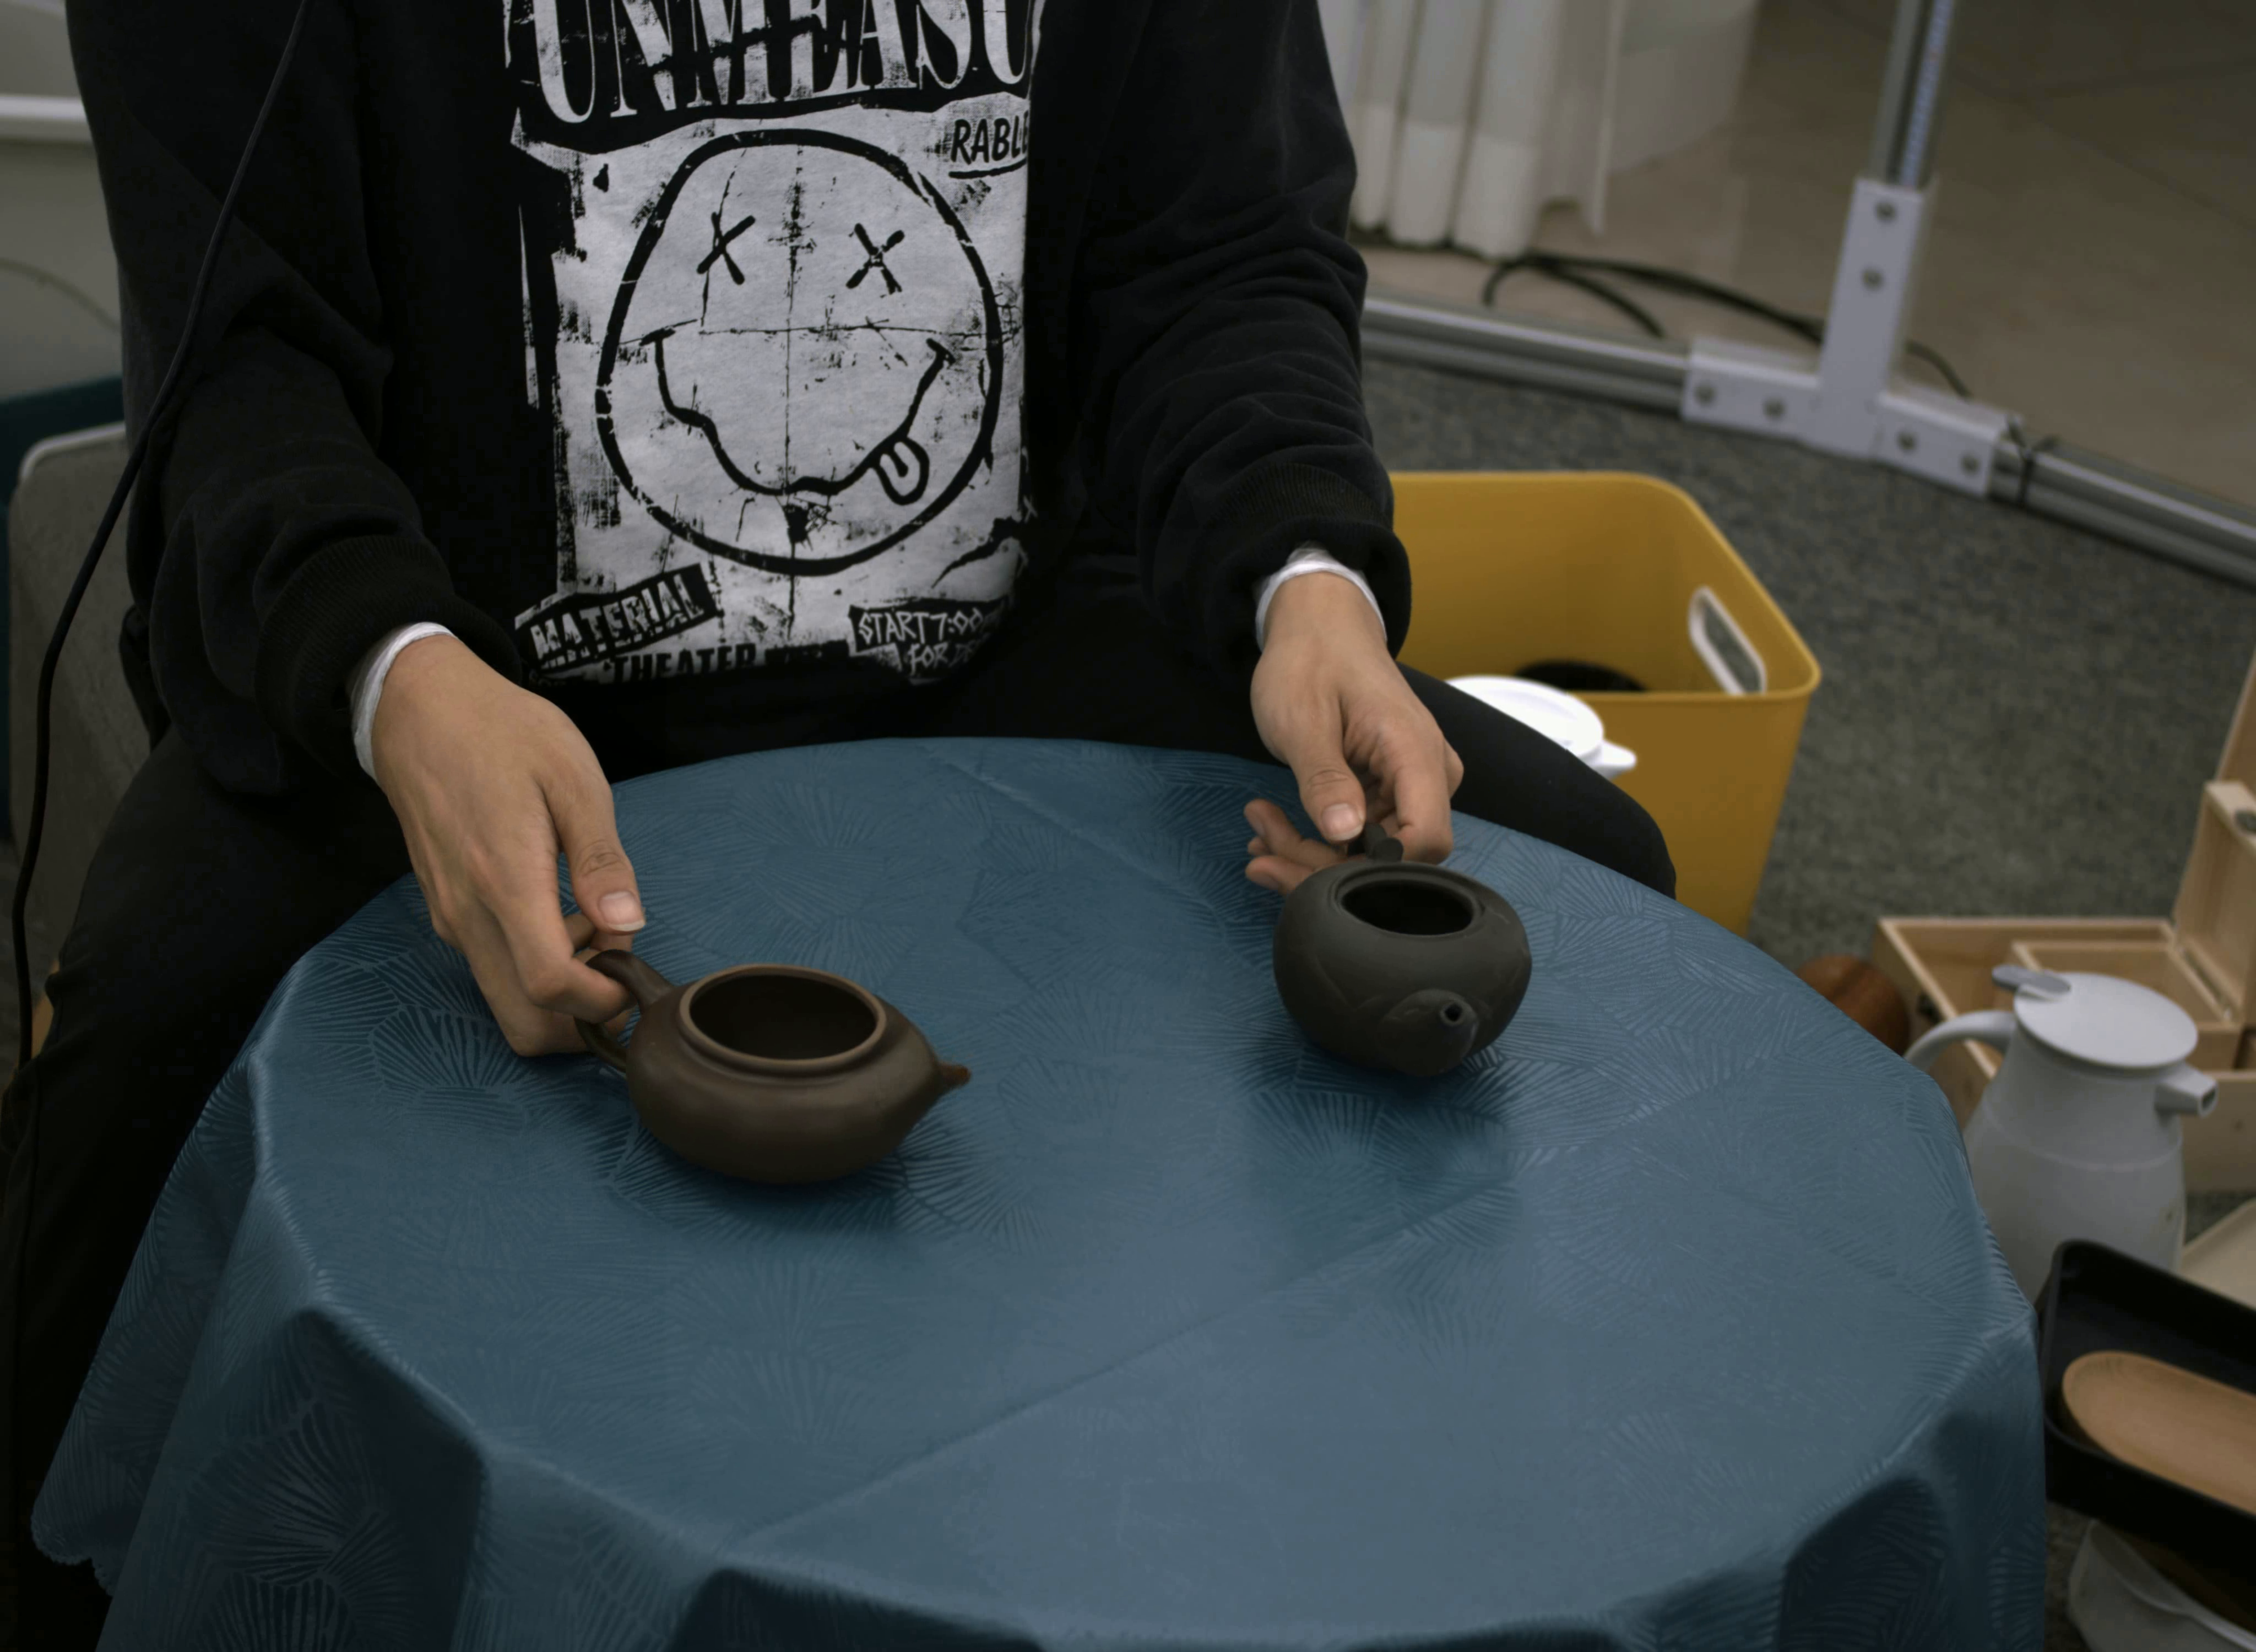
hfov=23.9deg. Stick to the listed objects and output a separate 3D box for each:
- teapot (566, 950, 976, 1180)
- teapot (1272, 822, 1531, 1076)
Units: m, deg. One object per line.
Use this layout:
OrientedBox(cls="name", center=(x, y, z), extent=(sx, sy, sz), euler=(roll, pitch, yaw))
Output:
OrientedBox(cls="teapot", center=(-0.123, 0.080, 1.803), extent=(0.154, 0.053, 0.102), euler=(16, 26, 17))
OrientedBox(cls="teapot", center=(0.097, 0.048, 1.906), extent=(0.092, 0.064, 0.155), euler=(3, 27, -12))
